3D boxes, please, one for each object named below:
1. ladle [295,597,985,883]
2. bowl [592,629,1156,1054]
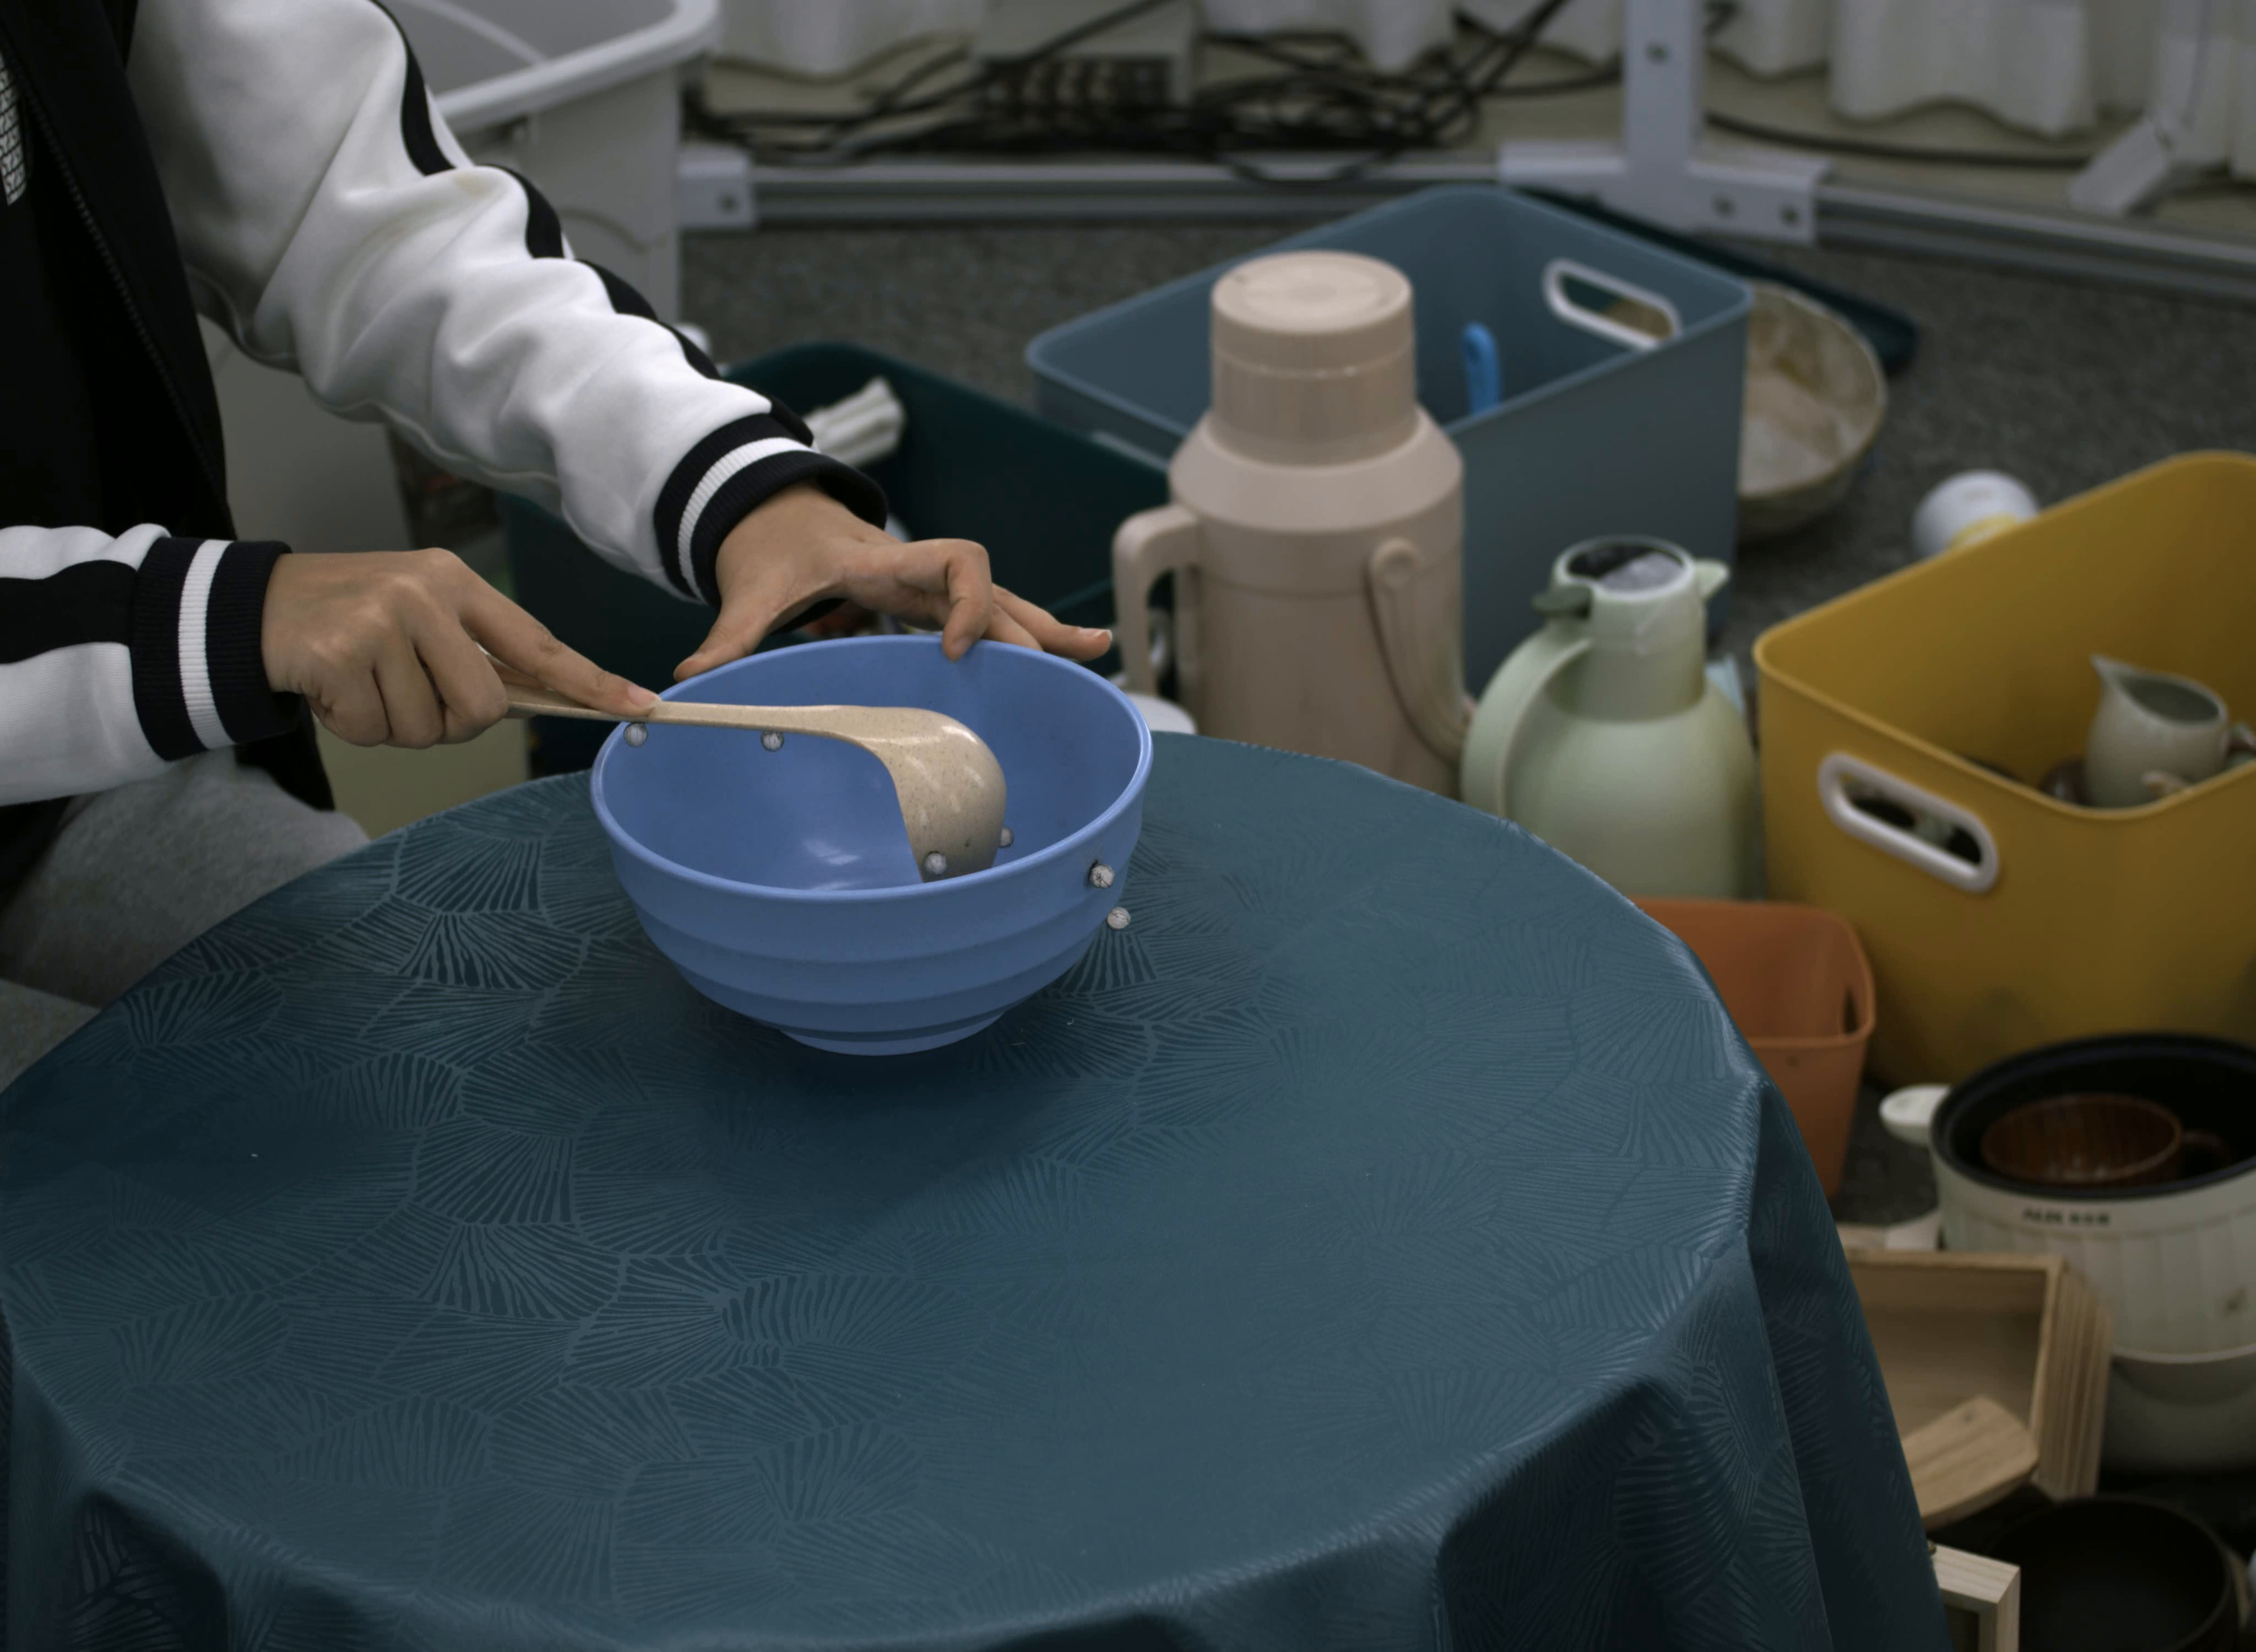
[{"bbox_3d":[-0.176,-0.016,1.938,0.253,0.071,0.074,14,72,4],"label":"ladle"},{"bbox_3d":[-0.087,0.017,1.969,0.195,0.094,0.199,0,28,0],"label":"bowl"}]
